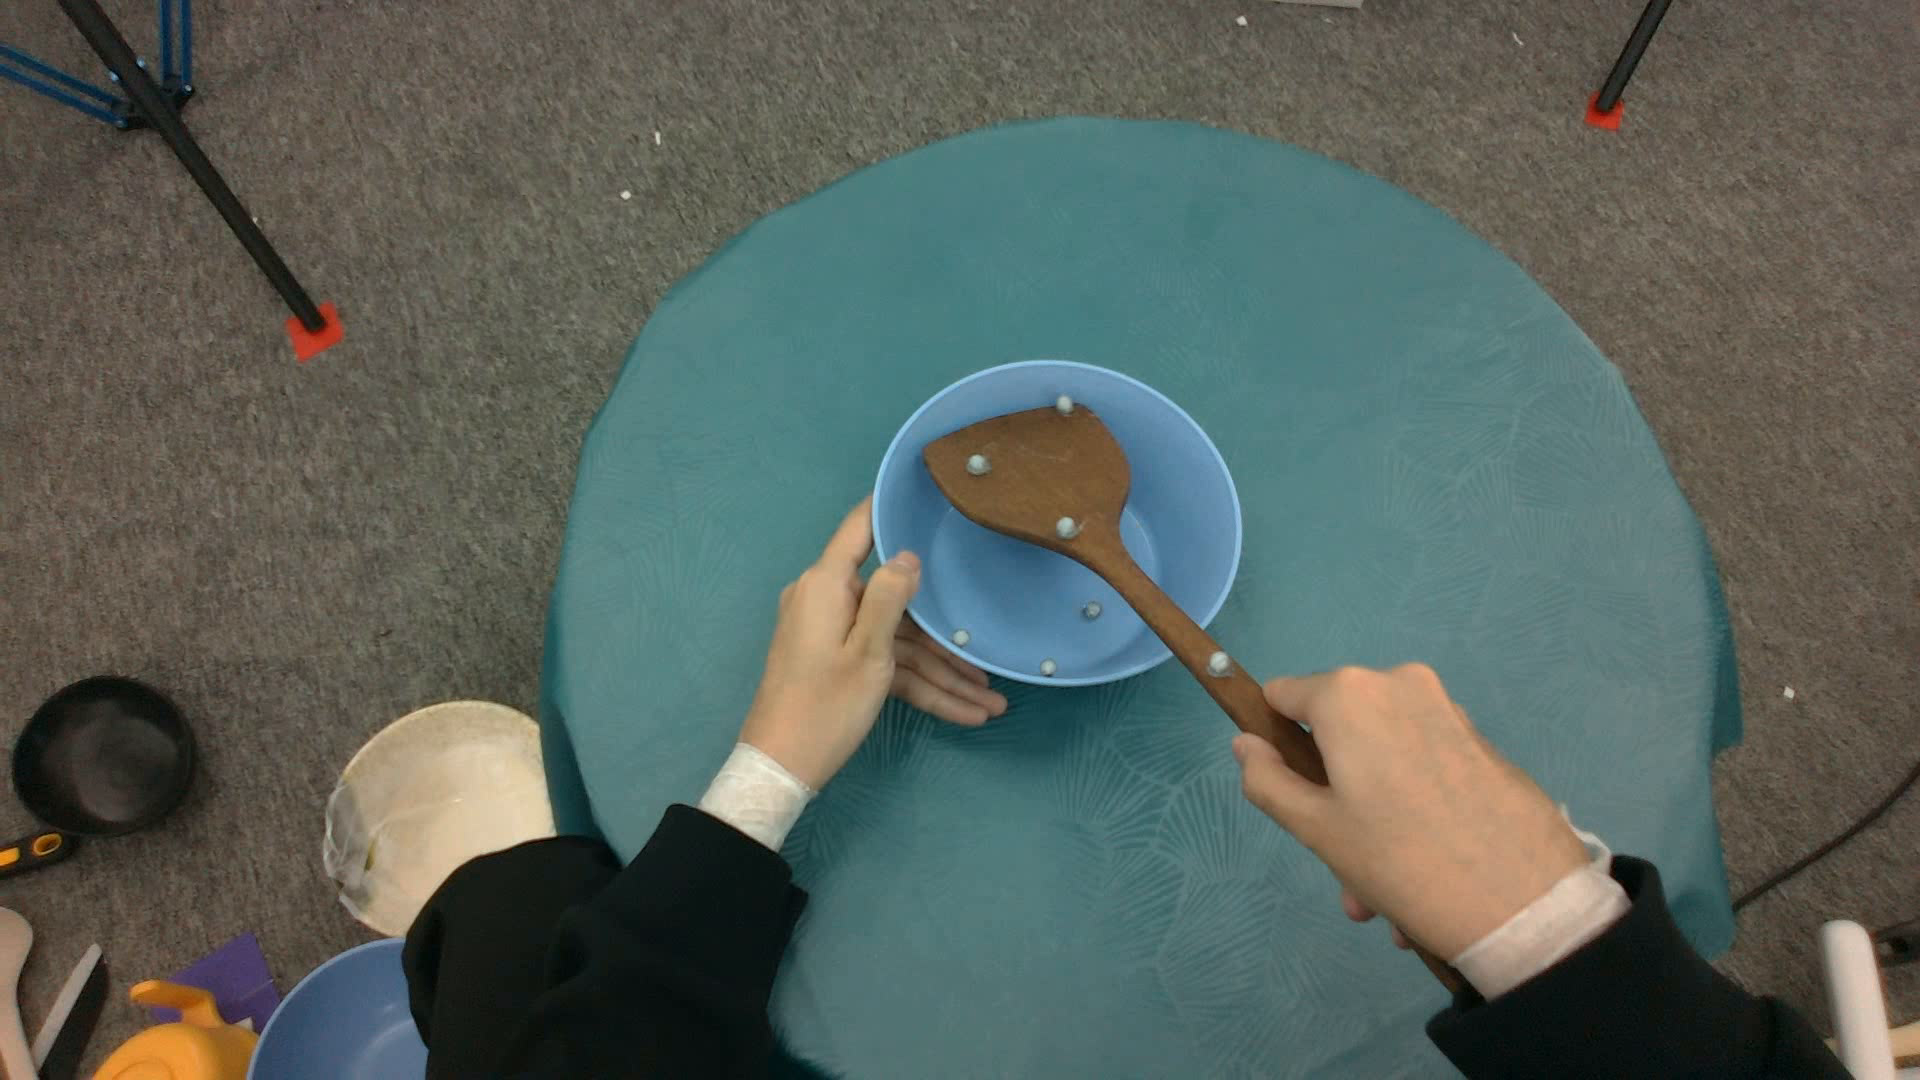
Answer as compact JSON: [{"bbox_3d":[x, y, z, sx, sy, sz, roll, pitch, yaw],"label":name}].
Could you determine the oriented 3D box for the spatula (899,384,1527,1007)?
[{"bbox_3d":[0.088,0.035,0.559,0.096,0.016,0.386,-17,39,-19],"label":"spatula"}]

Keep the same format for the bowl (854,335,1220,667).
[{"bbox_3d":[0.036,-0.010,0.682,0.176,0.070,0.176,1,65,-3],"label":"bowl"}]
